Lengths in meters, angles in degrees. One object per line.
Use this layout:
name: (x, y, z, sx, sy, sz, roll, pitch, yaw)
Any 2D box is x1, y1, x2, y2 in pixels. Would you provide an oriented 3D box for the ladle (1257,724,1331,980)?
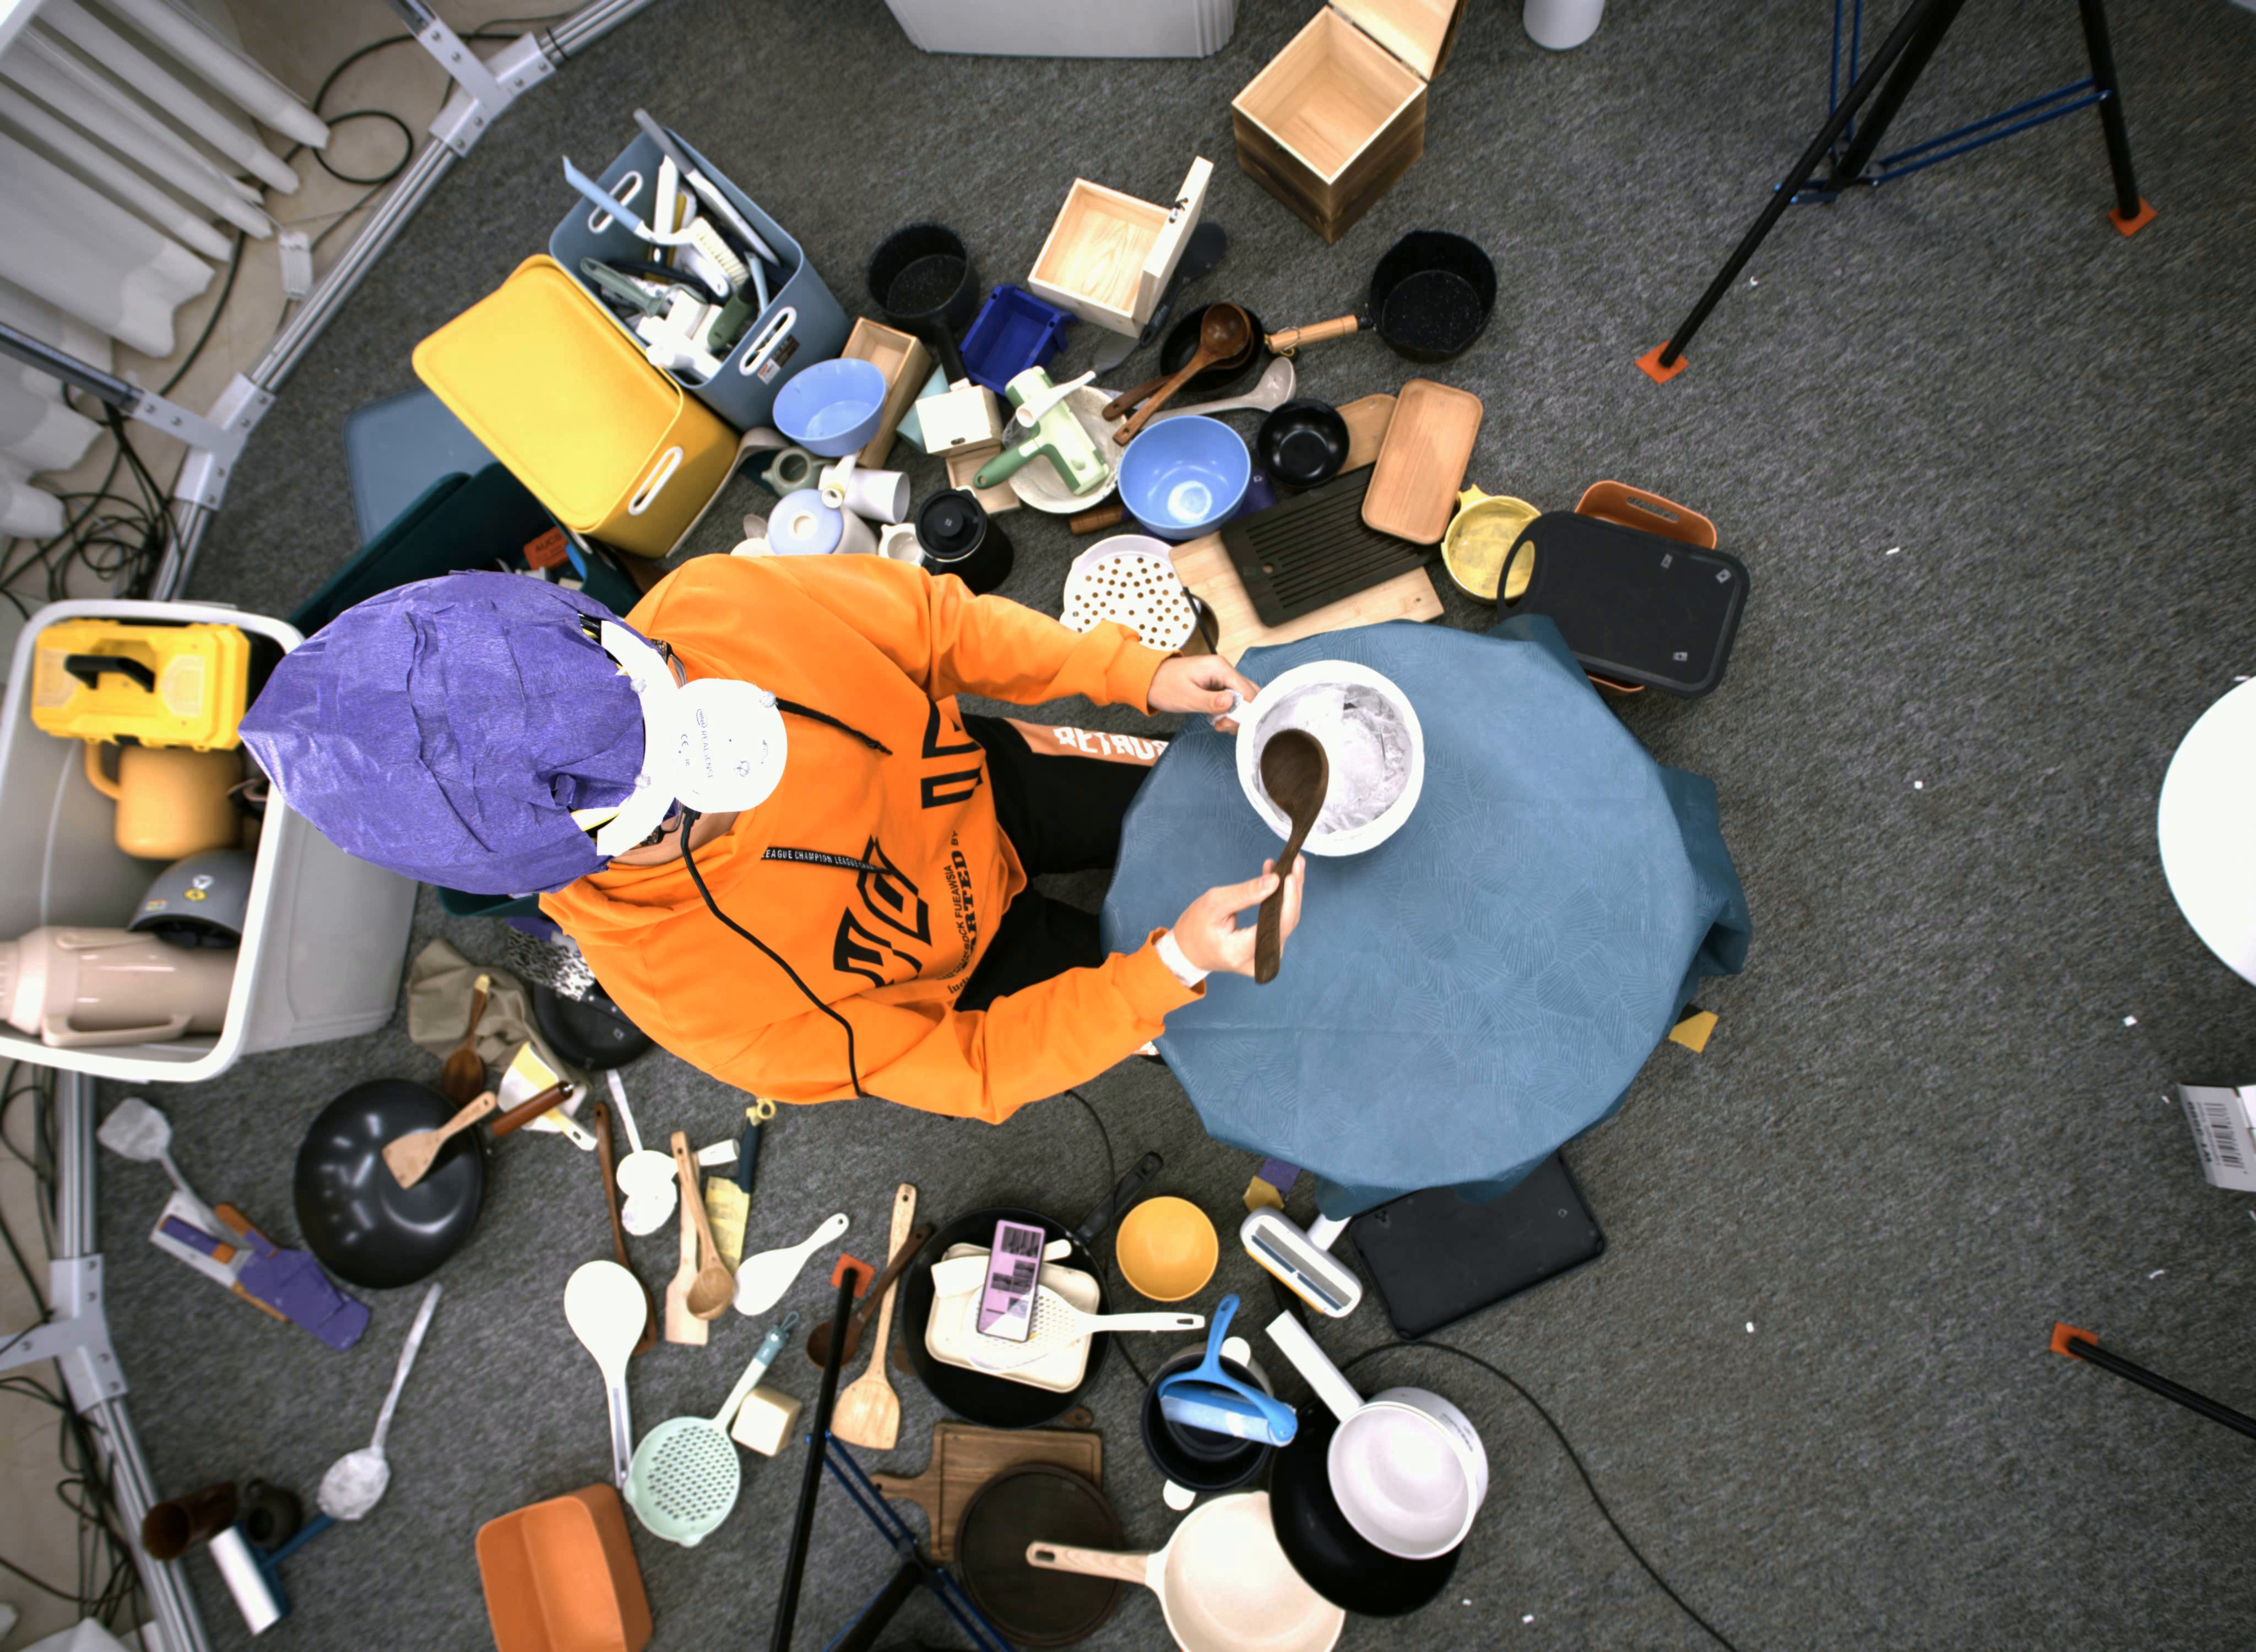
ladle: (0.126, 0.013, 1.205, 0.071, 0.266, 0.078, 34, 135, -11)

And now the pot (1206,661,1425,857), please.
pot: (0.178, -0.074, 1.368, 0.233, 0.137, 0.178, 28, 90, 14)
